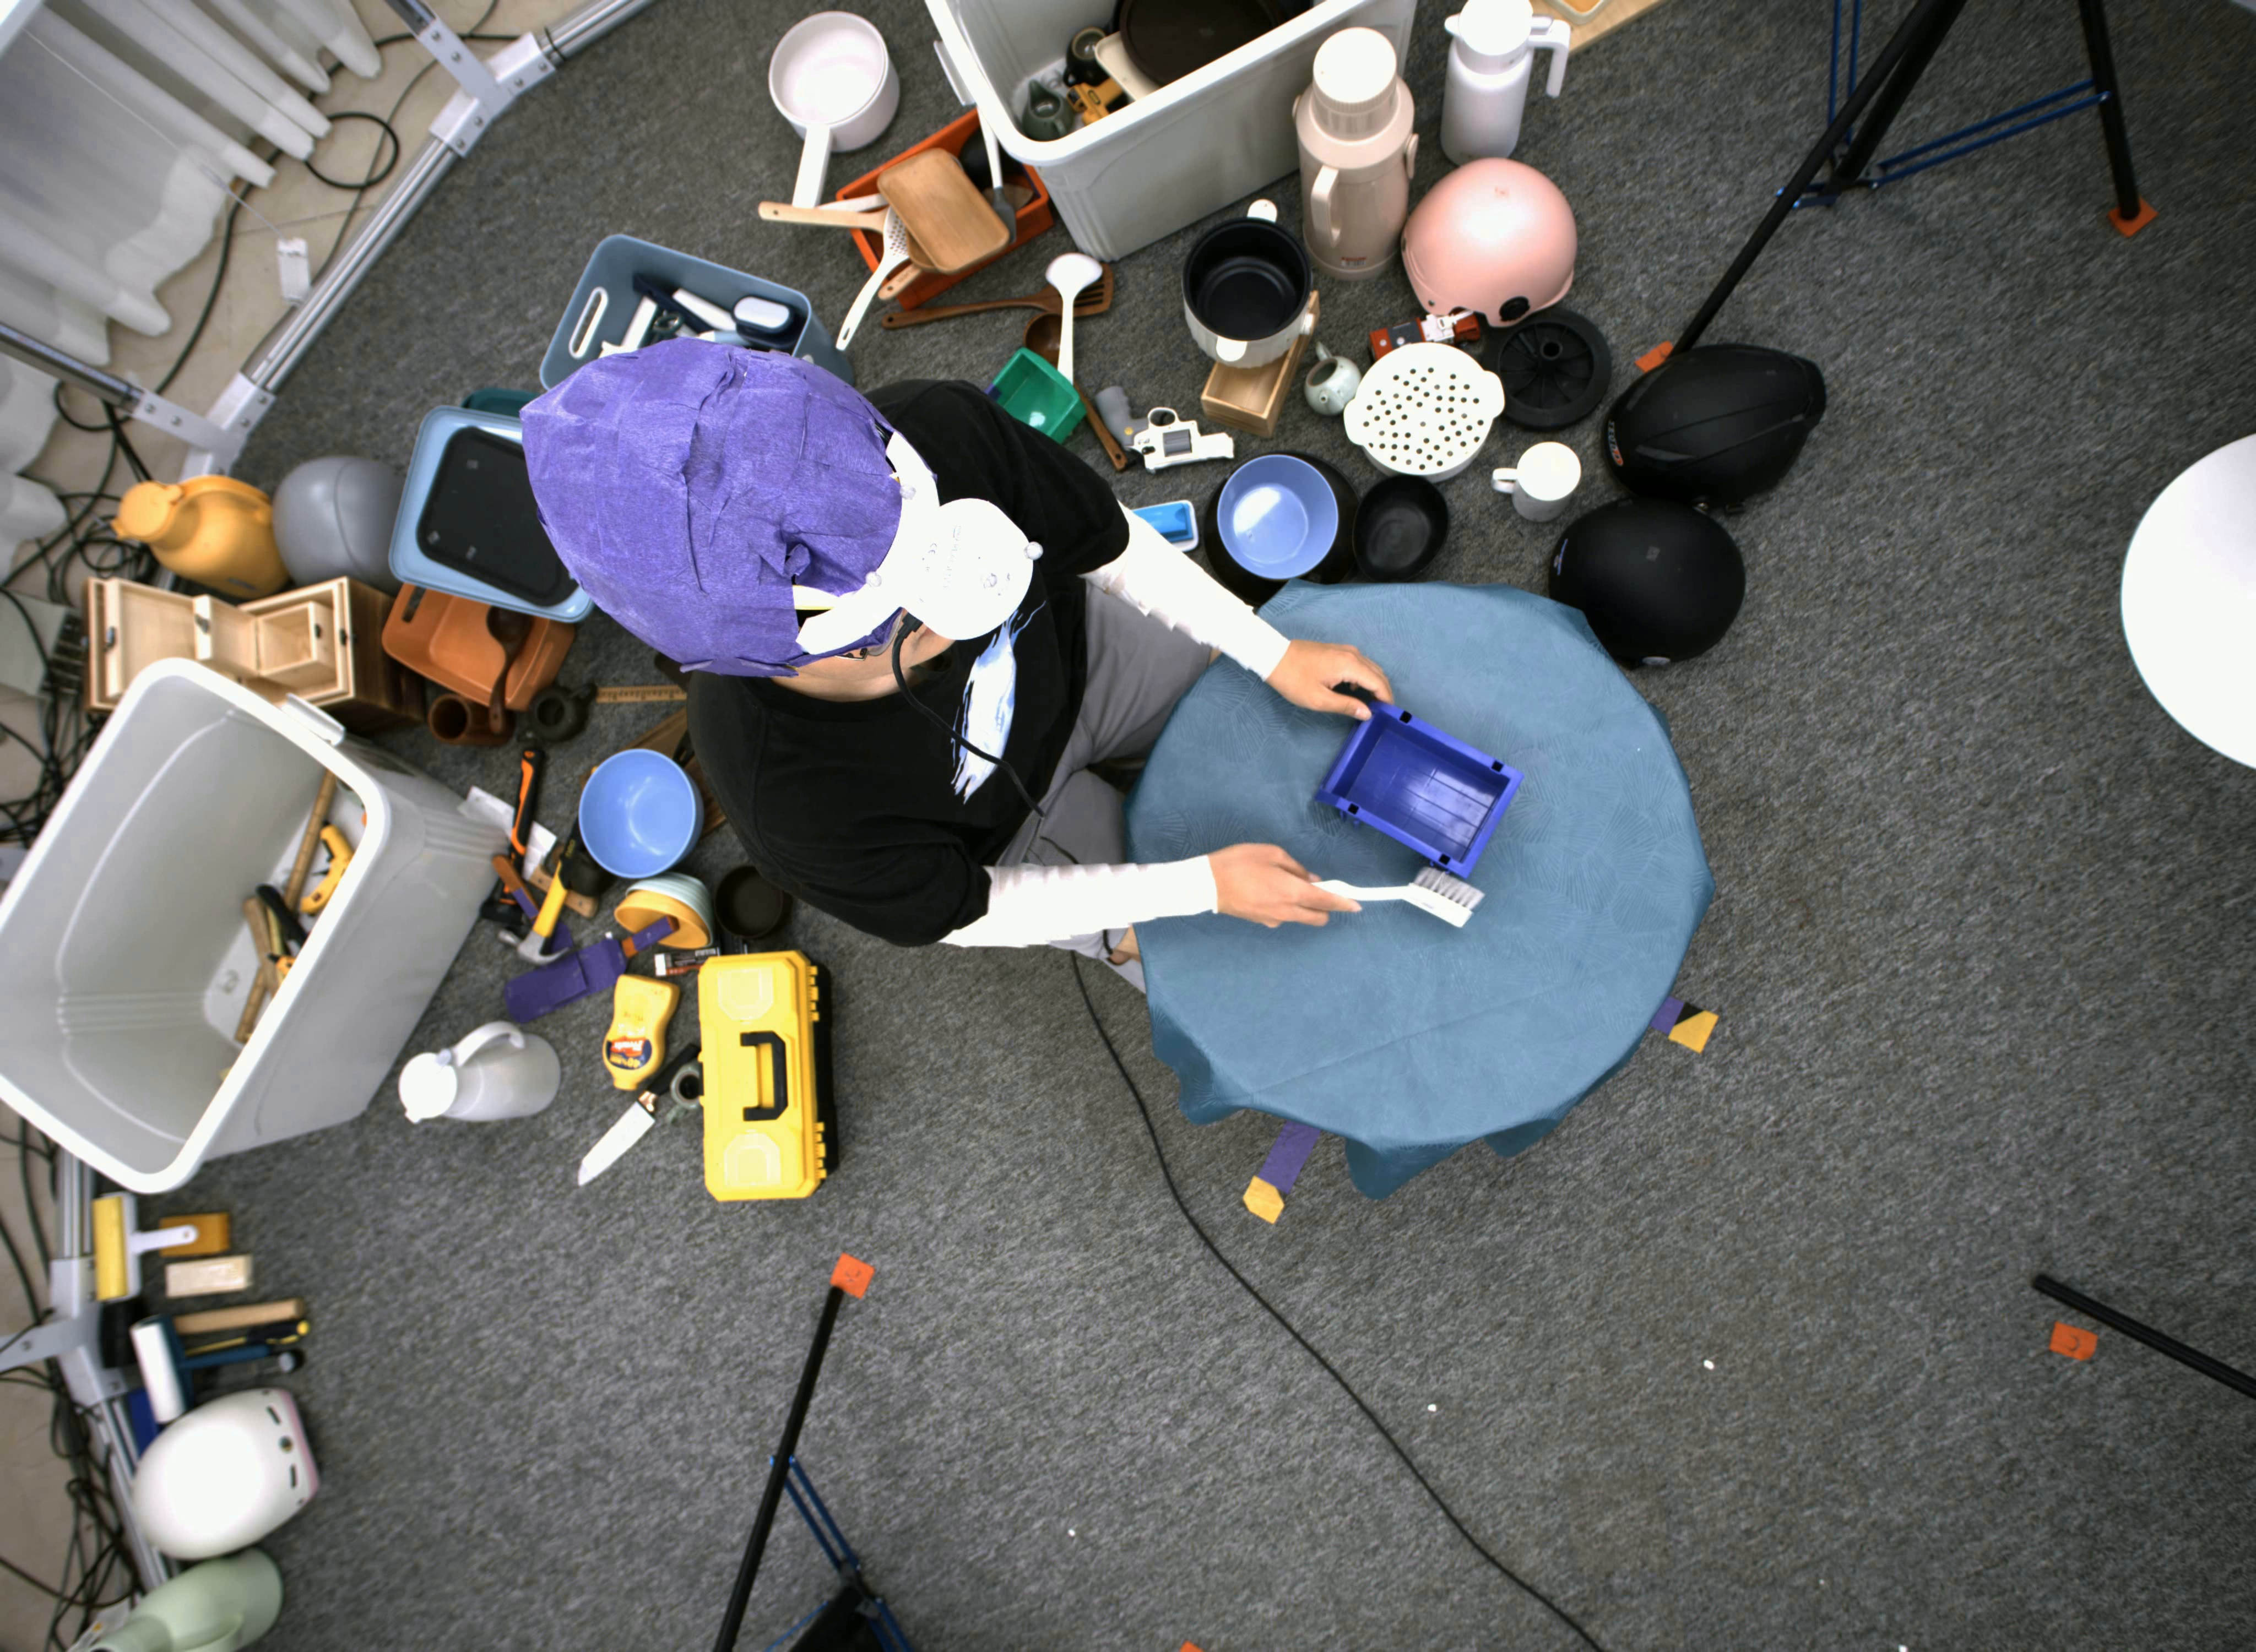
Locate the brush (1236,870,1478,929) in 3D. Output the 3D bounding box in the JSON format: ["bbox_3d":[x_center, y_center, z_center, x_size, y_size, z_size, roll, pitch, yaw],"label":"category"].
[{"bbox_3d":[0.233,0.057,1.408,0.244,0.035,0.049,10,75,9],"label":"brush"}]

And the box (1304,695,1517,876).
[{"bbox_3d":[0.287,-0.043,1.420,0.179,0.082,0.125,31,92,10],"label":"box"}]
